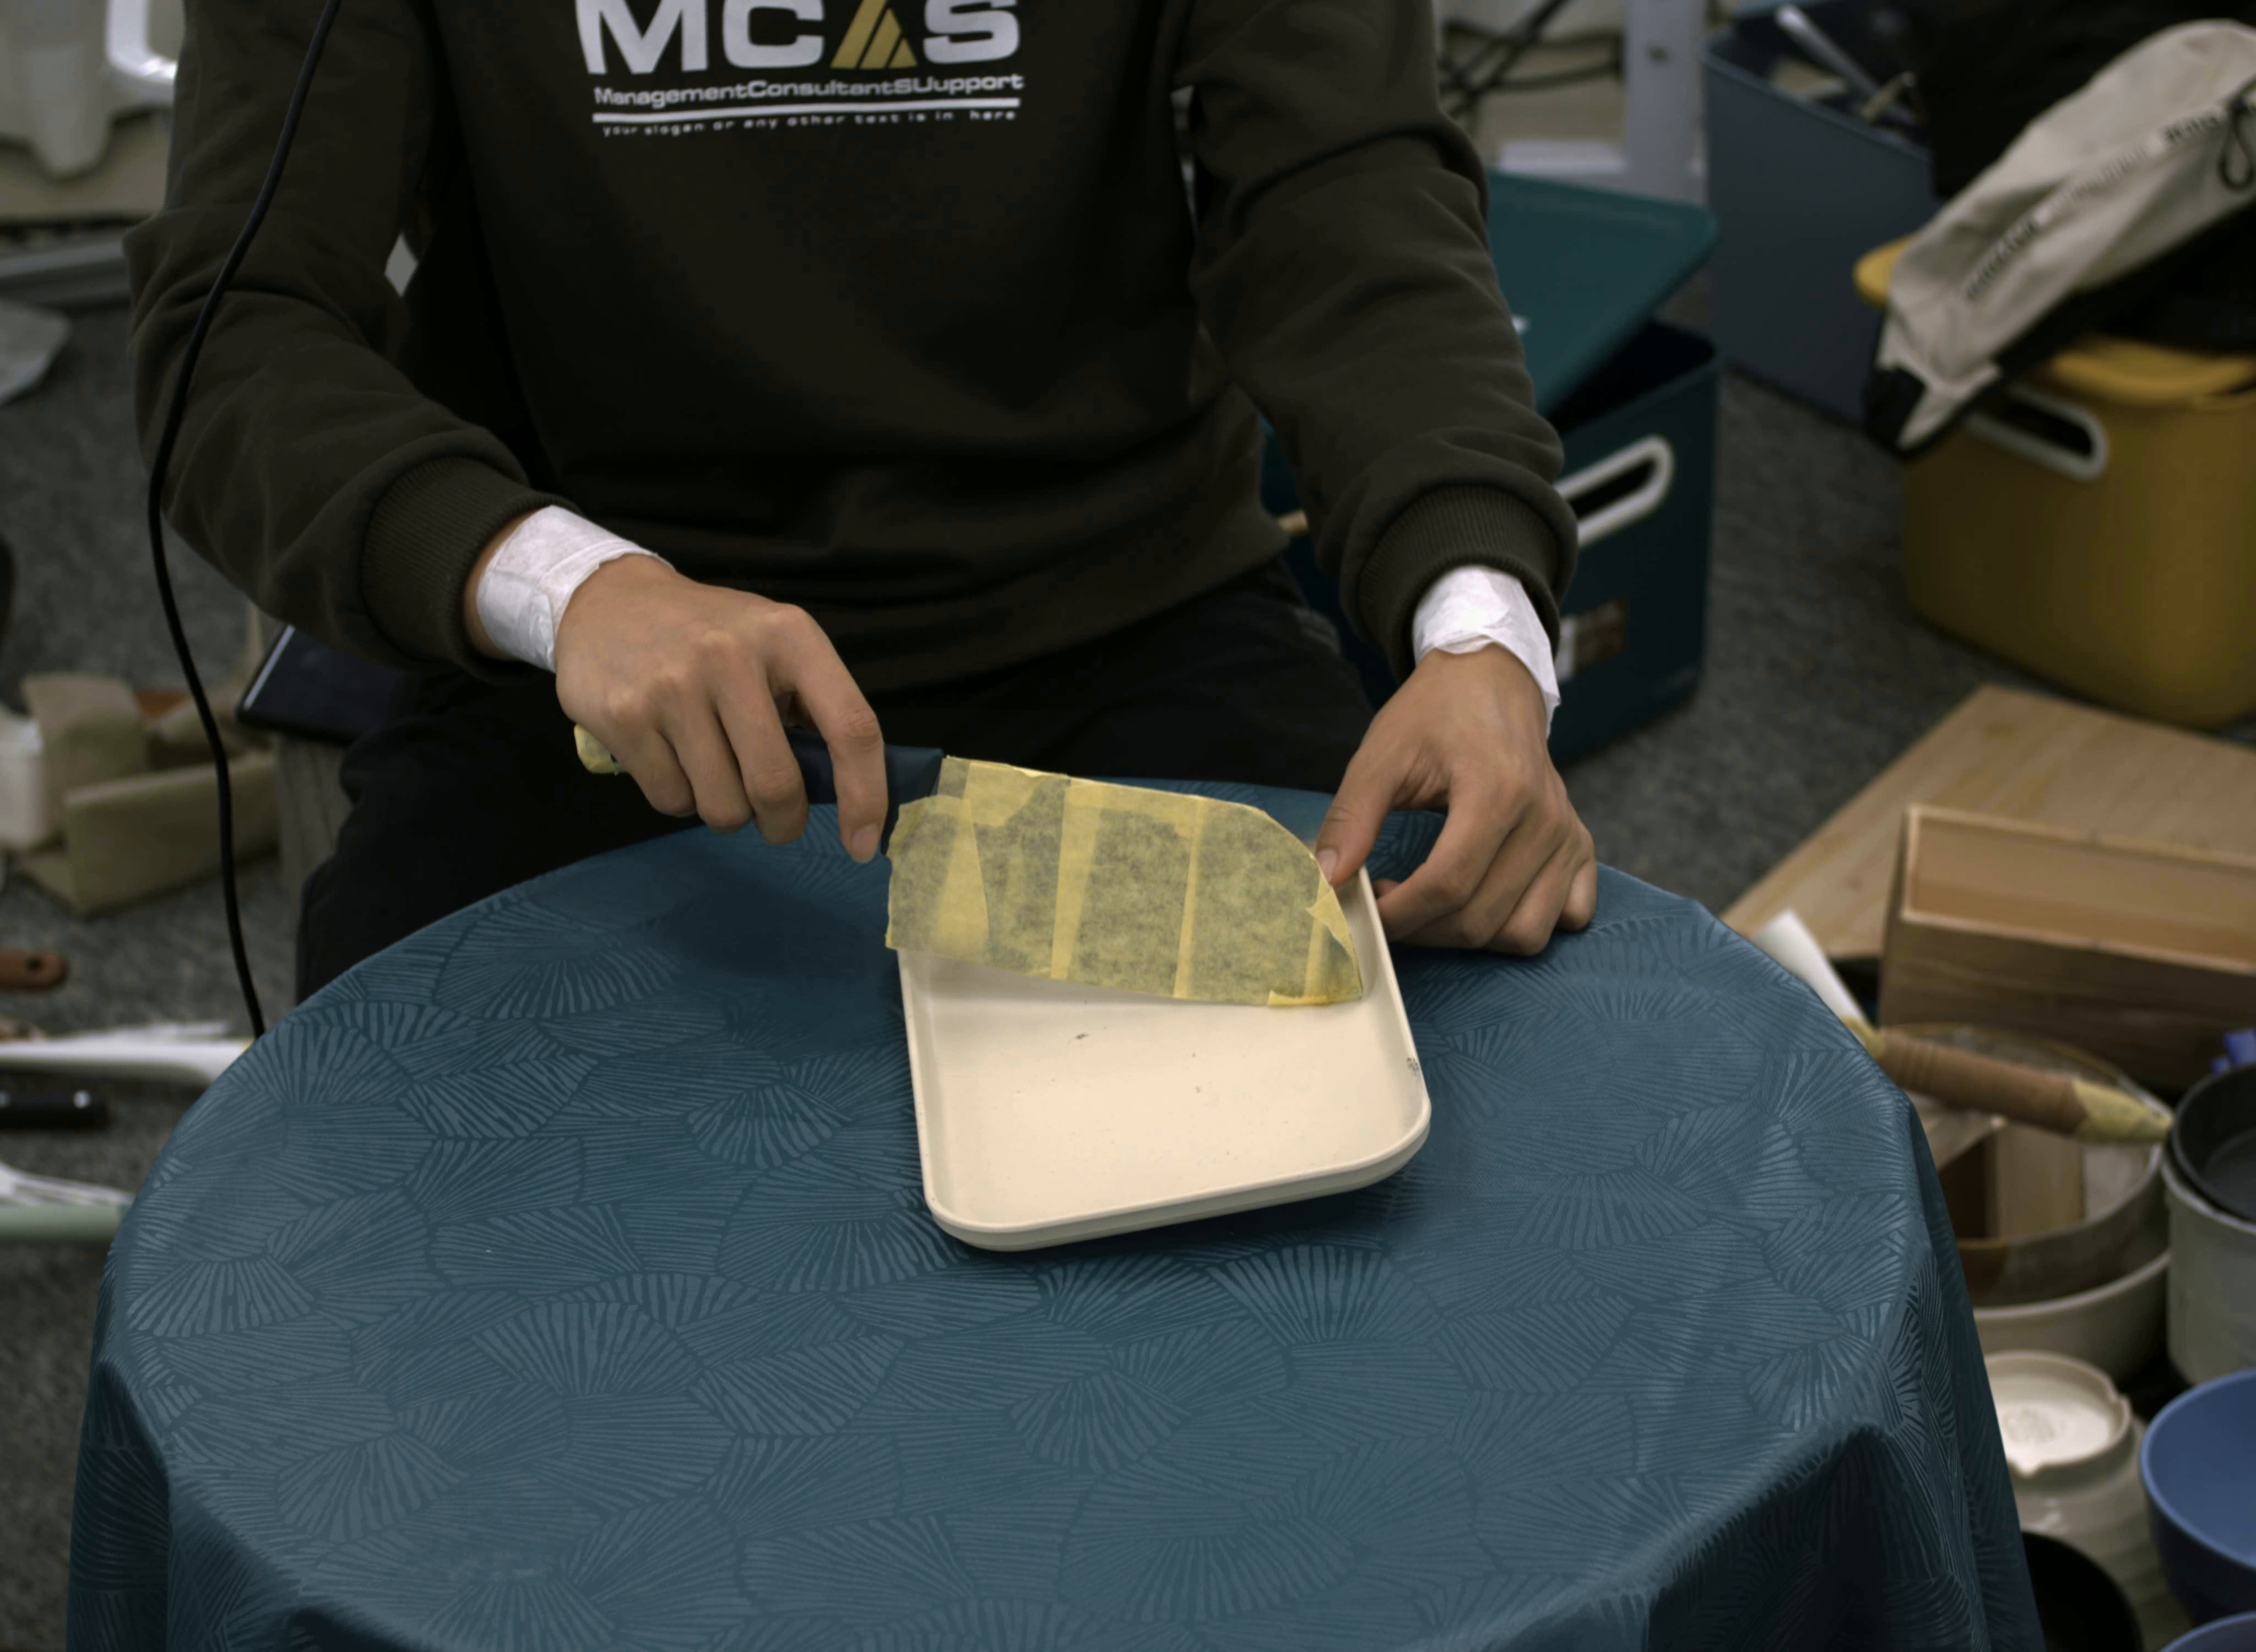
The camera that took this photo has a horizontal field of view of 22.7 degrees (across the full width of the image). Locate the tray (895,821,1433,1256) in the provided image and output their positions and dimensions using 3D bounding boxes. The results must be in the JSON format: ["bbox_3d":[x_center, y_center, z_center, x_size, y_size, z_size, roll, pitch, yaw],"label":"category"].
[{"bbox_3d":[0.010,0.071,1.922,0.170,0.017,0.243,-11,28,0],"label":"tray"}]

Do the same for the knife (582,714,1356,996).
[{"bbox_3d":[-0.057,0.009,1.962,0.288,0.081,0.027,12,8,14],"label":"knife"}]
